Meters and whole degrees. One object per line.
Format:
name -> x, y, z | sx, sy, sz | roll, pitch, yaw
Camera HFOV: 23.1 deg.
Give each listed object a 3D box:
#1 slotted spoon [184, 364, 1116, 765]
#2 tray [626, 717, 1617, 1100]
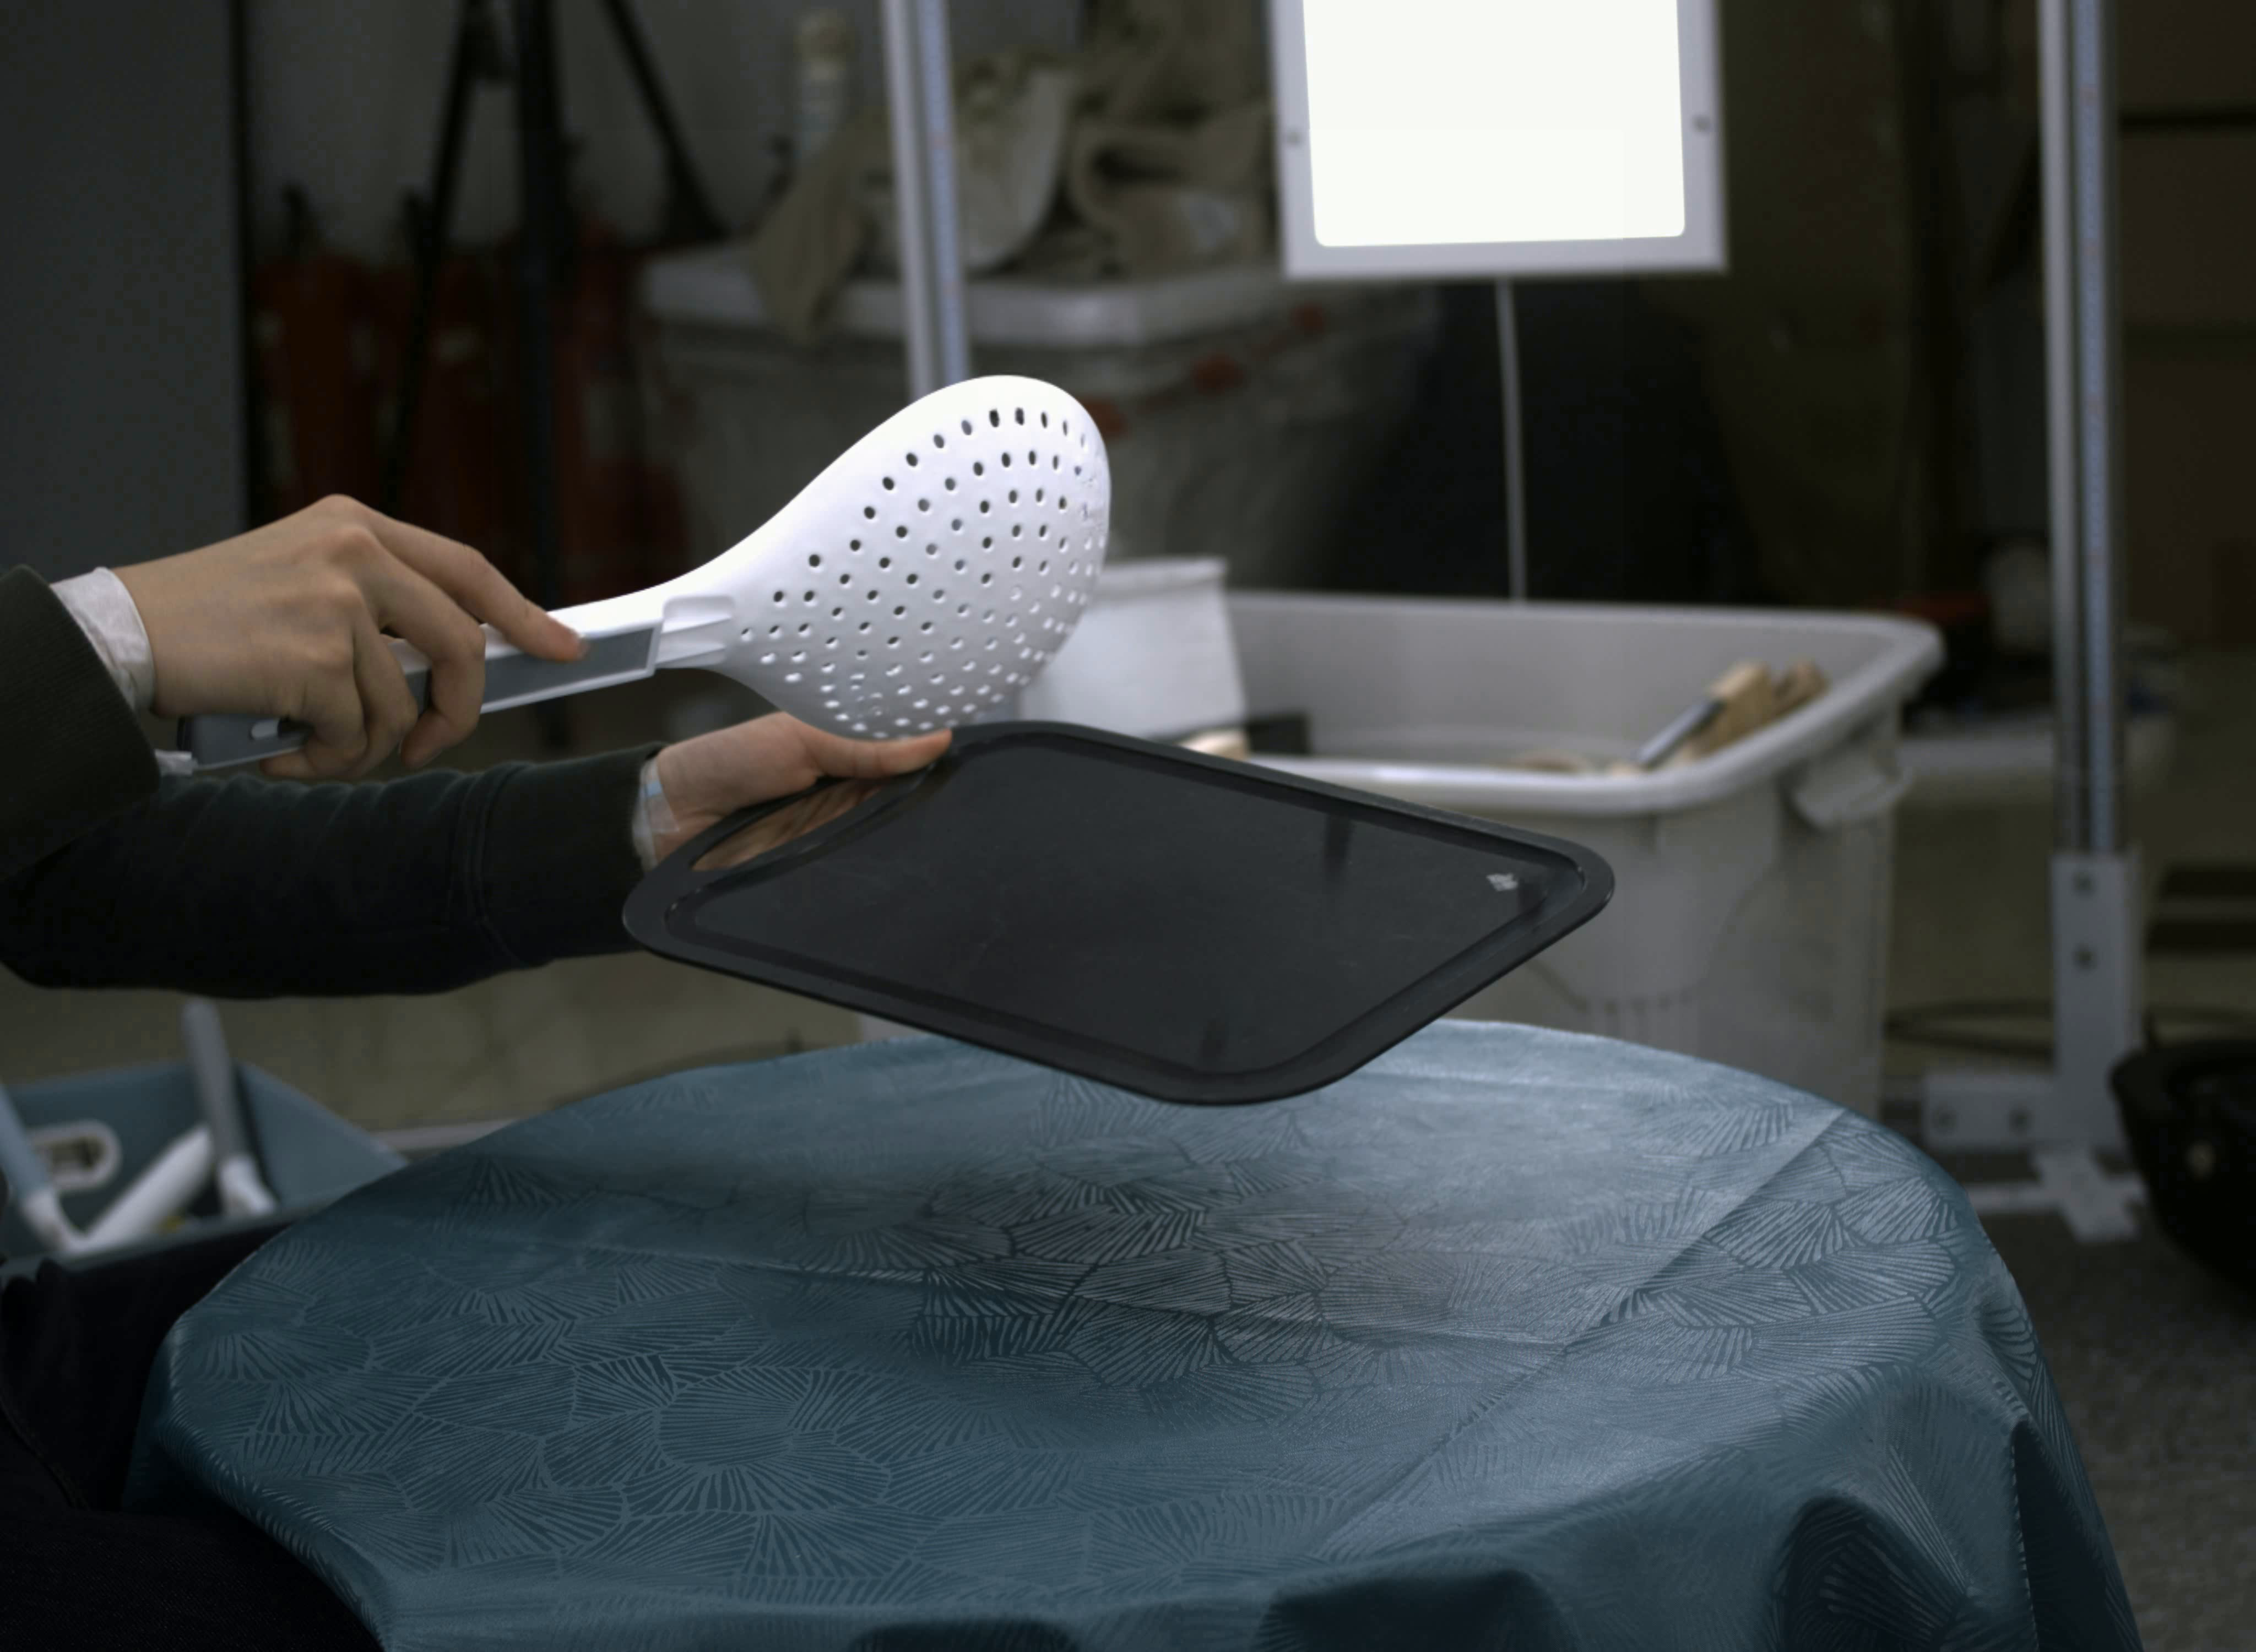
slotted spoon -> -0.139, -0.064, 1.726 | 0.341, 0.137, 0.046 | -10, 34, -31
tray -> -0.012, 0.020, 1.822 | 0.332, 0.010, 0.206 | 14, 33, 42
